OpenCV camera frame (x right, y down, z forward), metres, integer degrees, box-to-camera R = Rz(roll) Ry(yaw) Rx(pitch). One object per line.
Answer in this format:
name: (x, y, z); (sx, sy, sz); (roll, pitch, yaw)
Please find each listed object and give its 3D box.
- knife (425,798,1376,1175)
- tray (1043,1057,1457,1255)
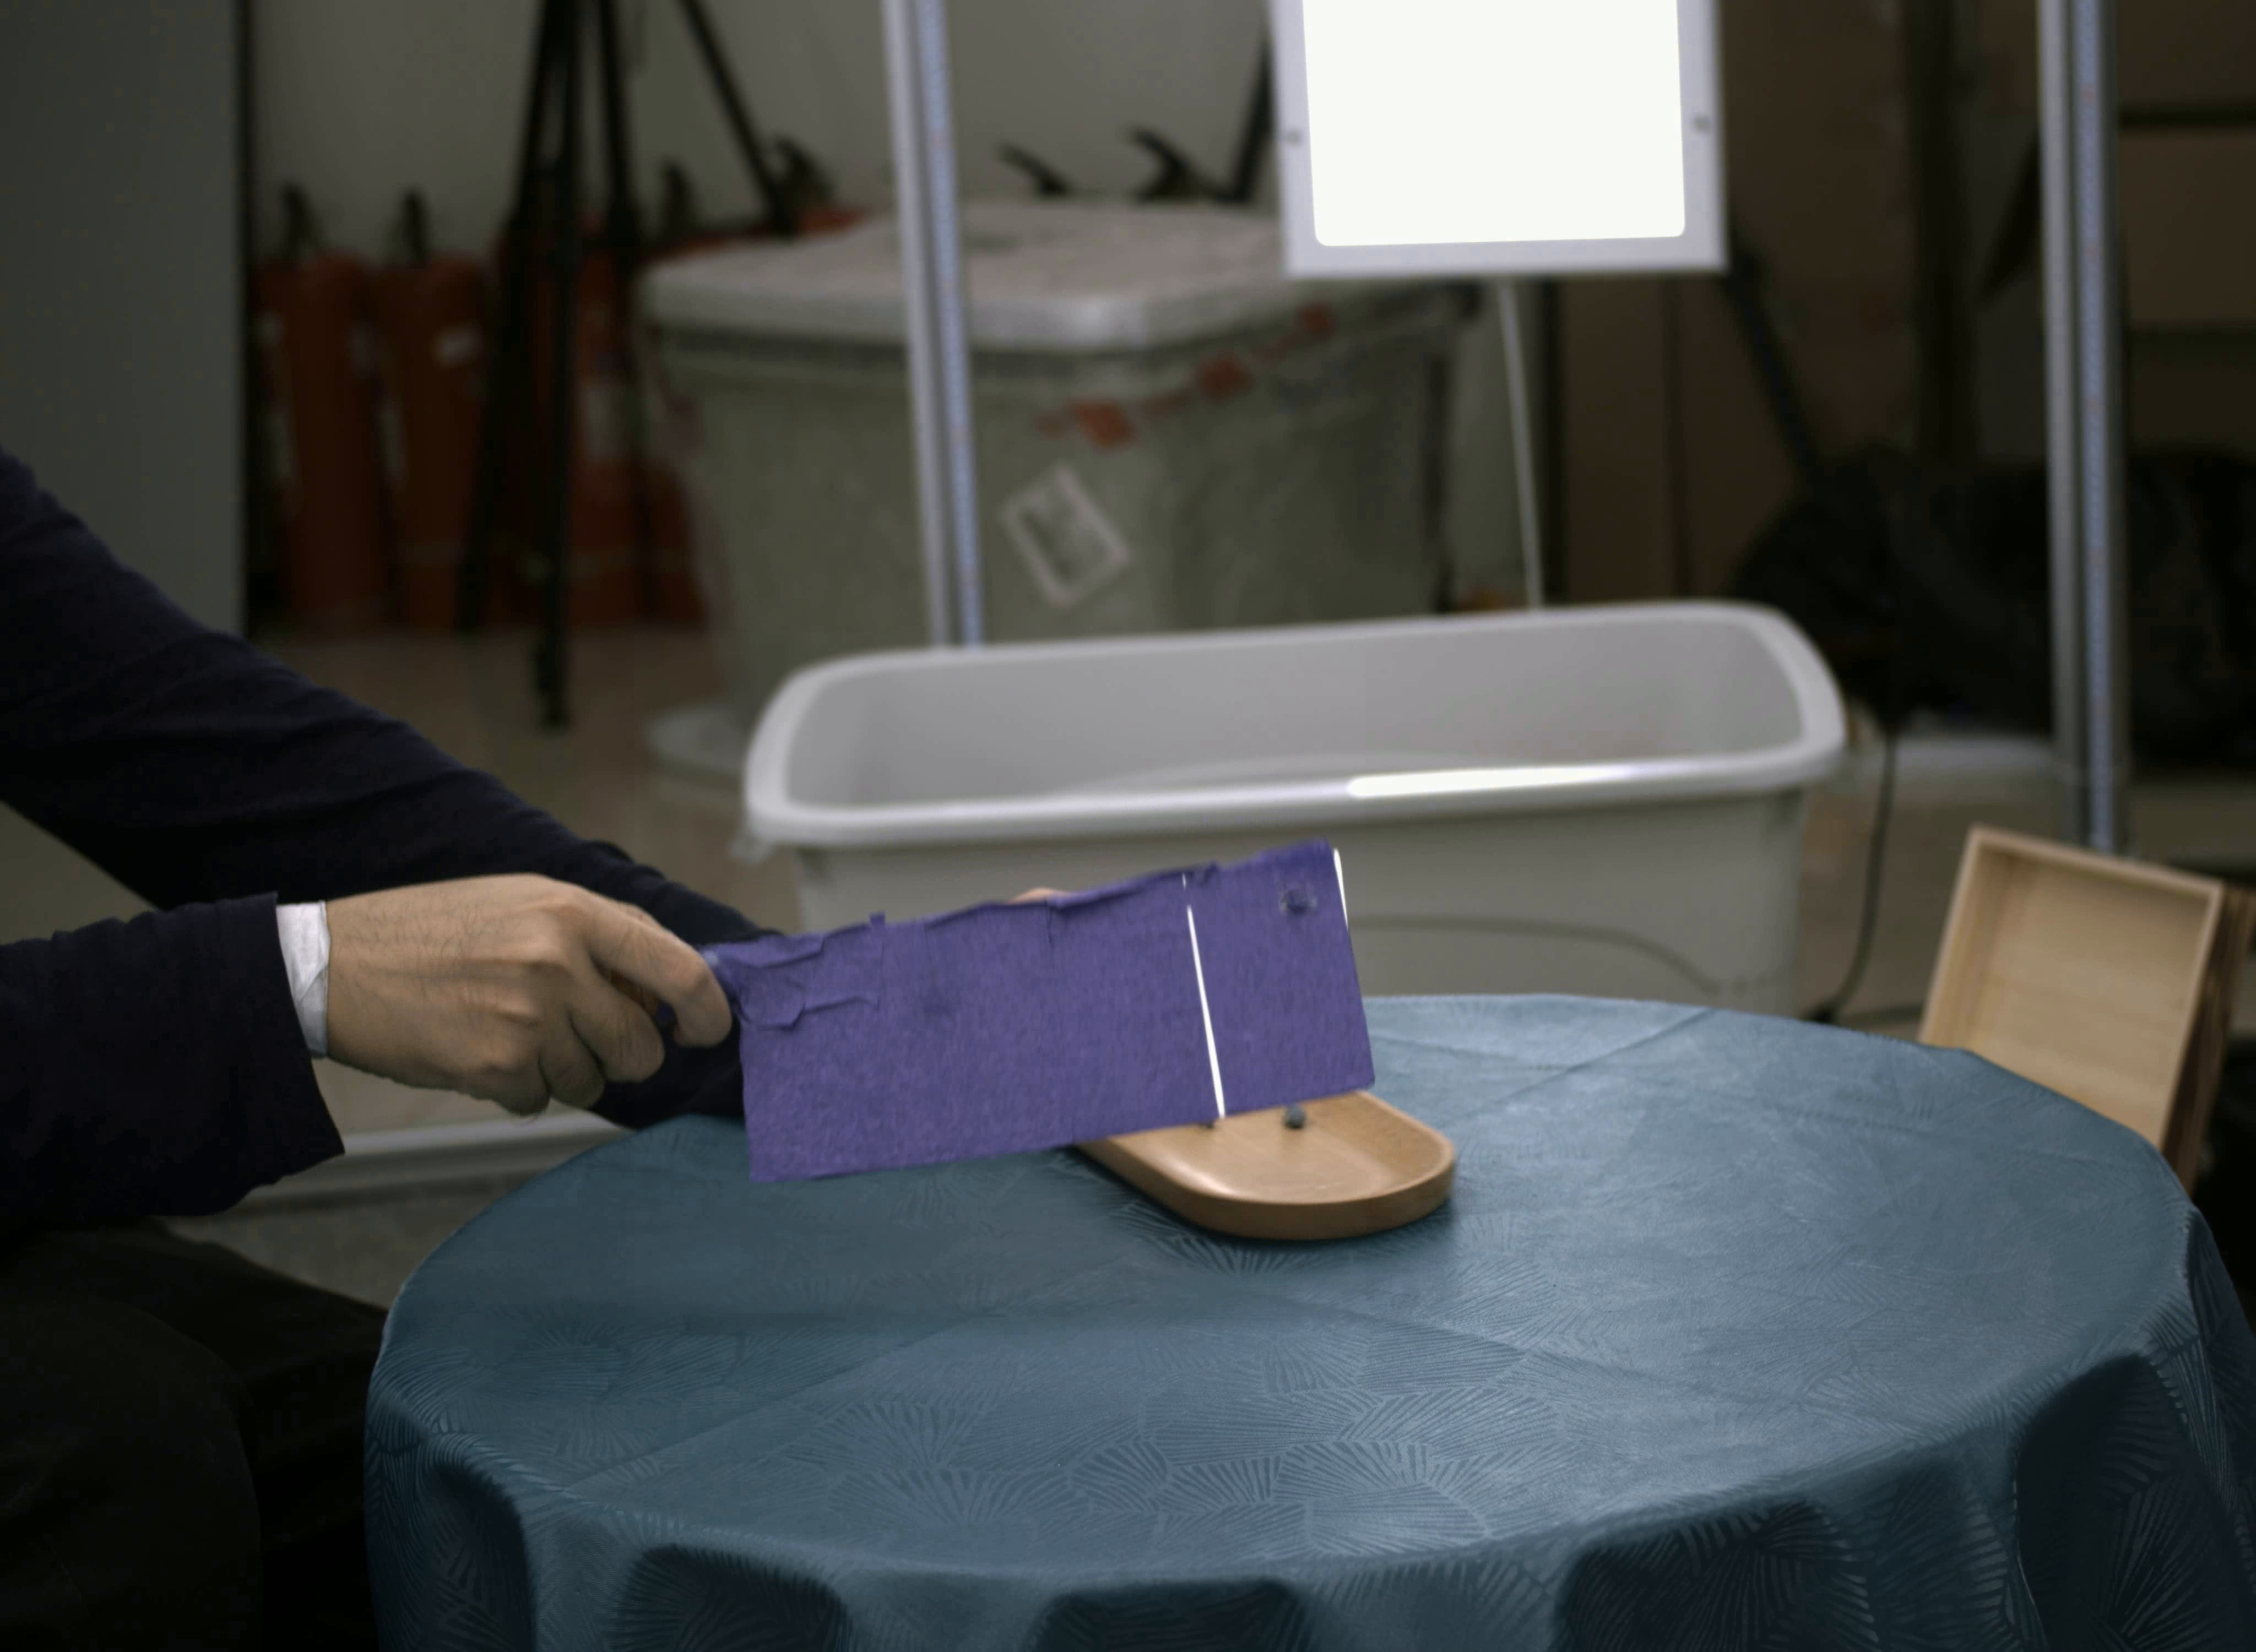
knife: (-0.077, 0.064, 1.815); (0.317, 0.104, 0.032); (-12, -28, 9)
tray: (0.036, 0.107, 1.930); (0.100, 0.020, 0.234); (-11, 19, -20)
